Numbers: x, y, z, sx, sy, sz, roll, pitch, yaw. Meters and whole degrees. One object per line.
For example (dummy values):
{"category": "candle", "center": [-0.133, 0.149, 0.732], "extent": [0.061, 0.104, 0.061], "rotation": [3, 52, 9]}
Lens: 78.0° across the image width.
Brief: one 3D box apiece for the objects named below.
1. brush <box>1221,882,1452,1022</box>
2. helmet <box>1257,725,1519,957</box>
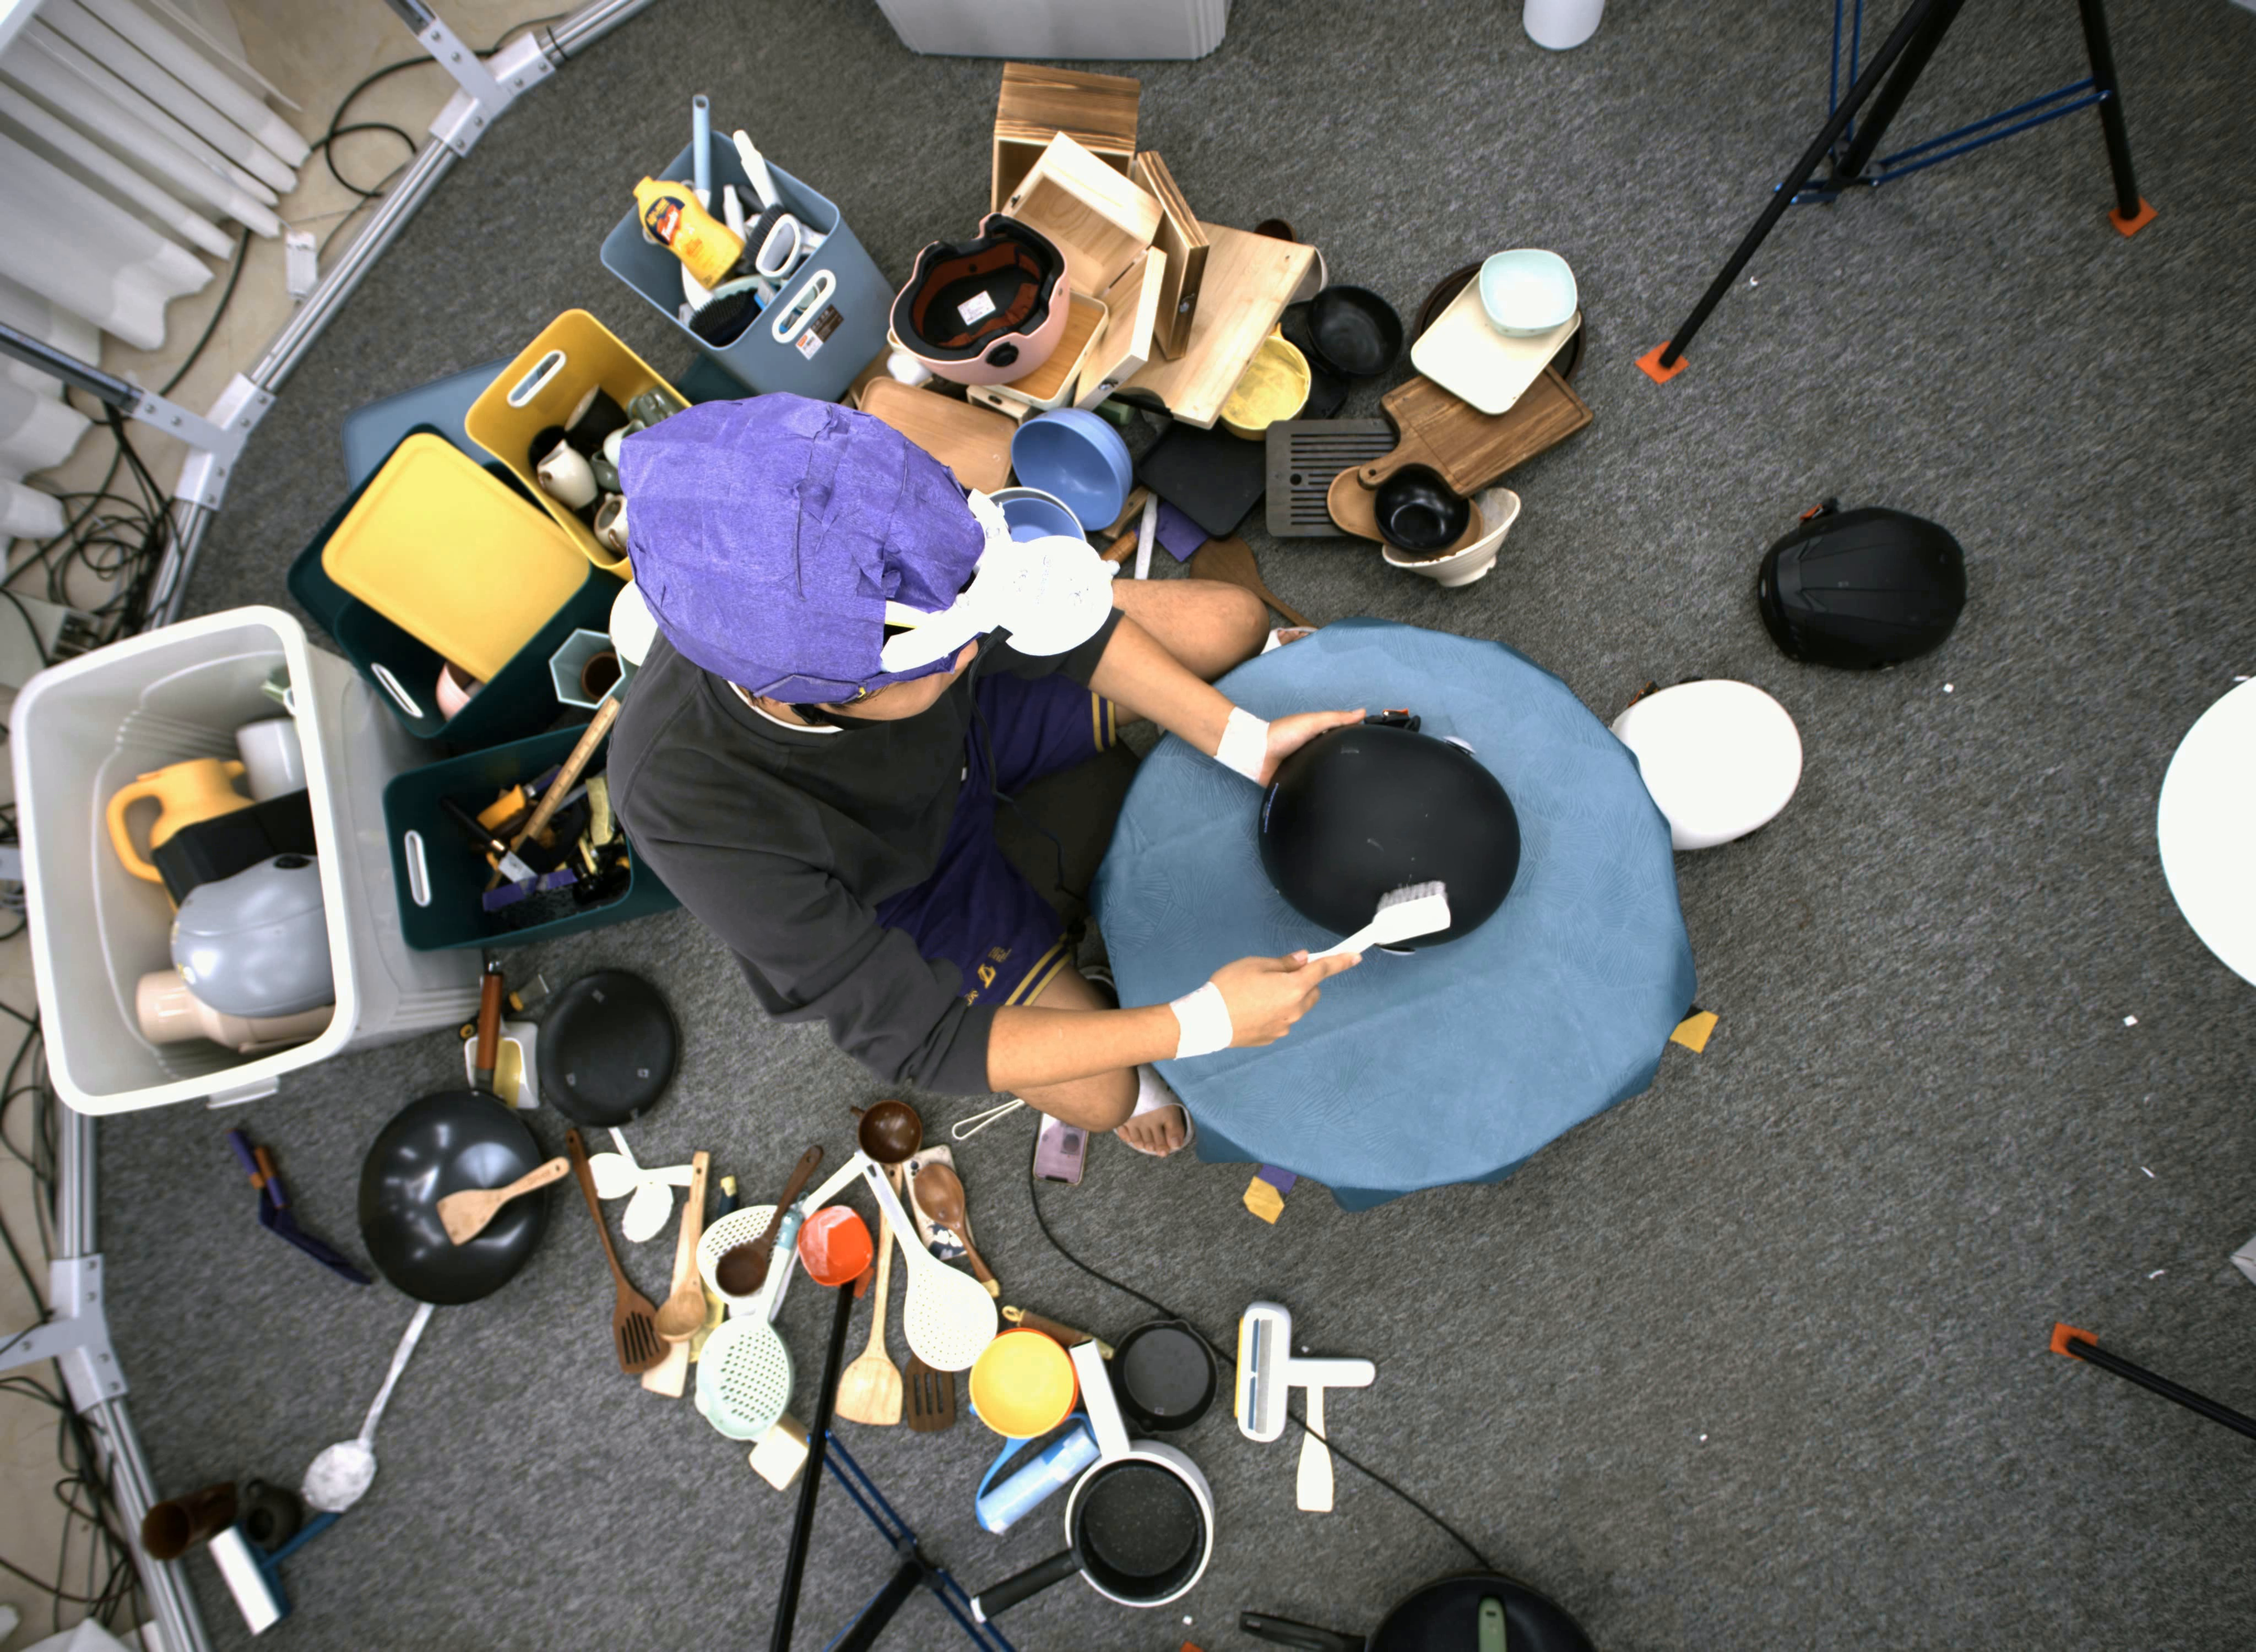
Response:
{"category": "brush", "center": [0.194, 0.115, 1.297], "extent": [0.244, 0.049, 0.035], "rotation": [-25, 119, 0]}
{"category": "helmet", "center": [0.263, 0.013, 1.376], "extent": [0.273, 0.165, 0.231], "rotation": [19, 97, 7]}
